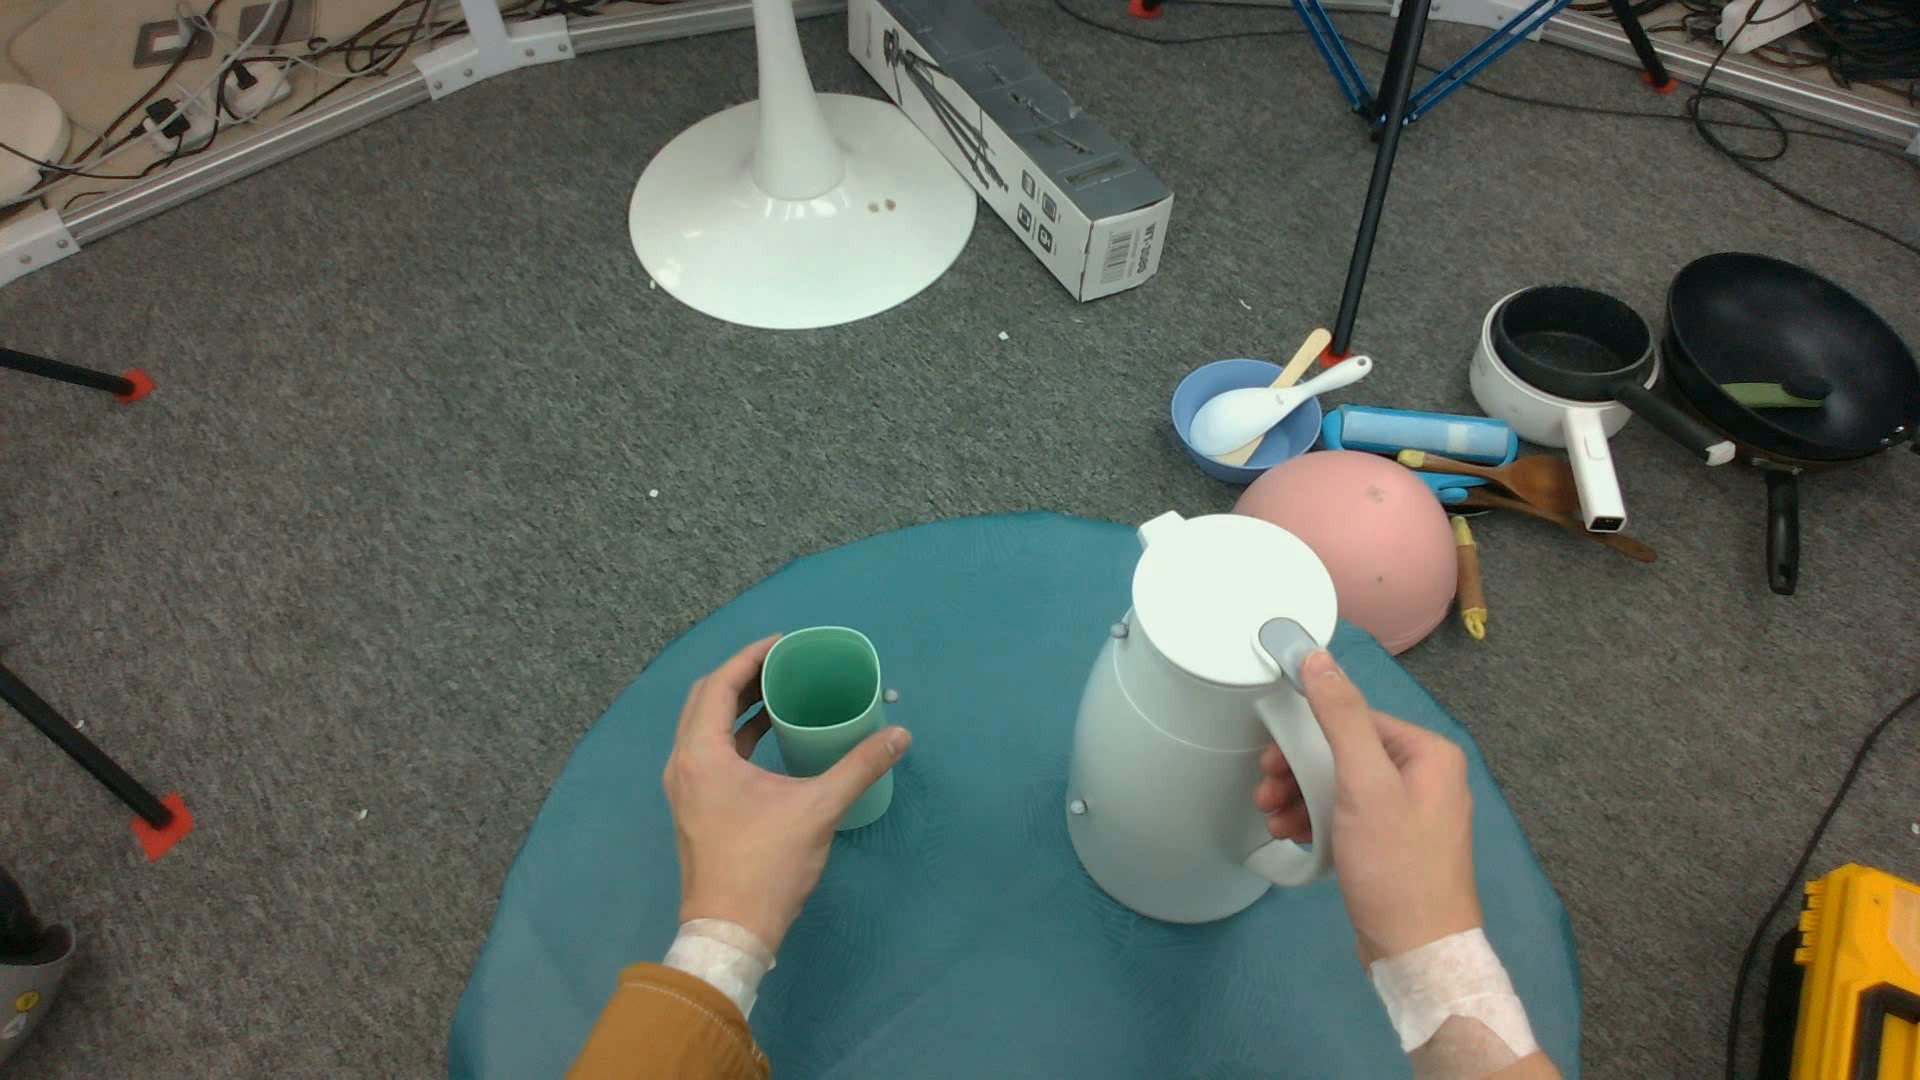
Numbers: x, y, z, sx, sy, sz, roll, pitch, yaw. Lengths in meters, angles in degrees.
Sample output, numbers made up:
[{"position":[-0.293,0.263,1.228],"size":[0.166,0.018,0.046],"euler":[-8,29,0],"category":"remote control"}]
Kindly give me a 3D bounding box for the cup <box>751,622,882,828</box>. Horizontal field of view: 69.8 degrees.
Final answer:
[{"position":[-0.078,0.108,0.776],"size":[0.067,0.131,0.067],"euler":[0,54,1],"category":"cup"}]

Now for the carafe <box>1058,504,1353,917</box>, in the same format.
[{"position":[0.132,0.101,0.704],"size":[0.133,0.247,0.168],"euler":[-25,59,-17],"category":"carafe"}]
